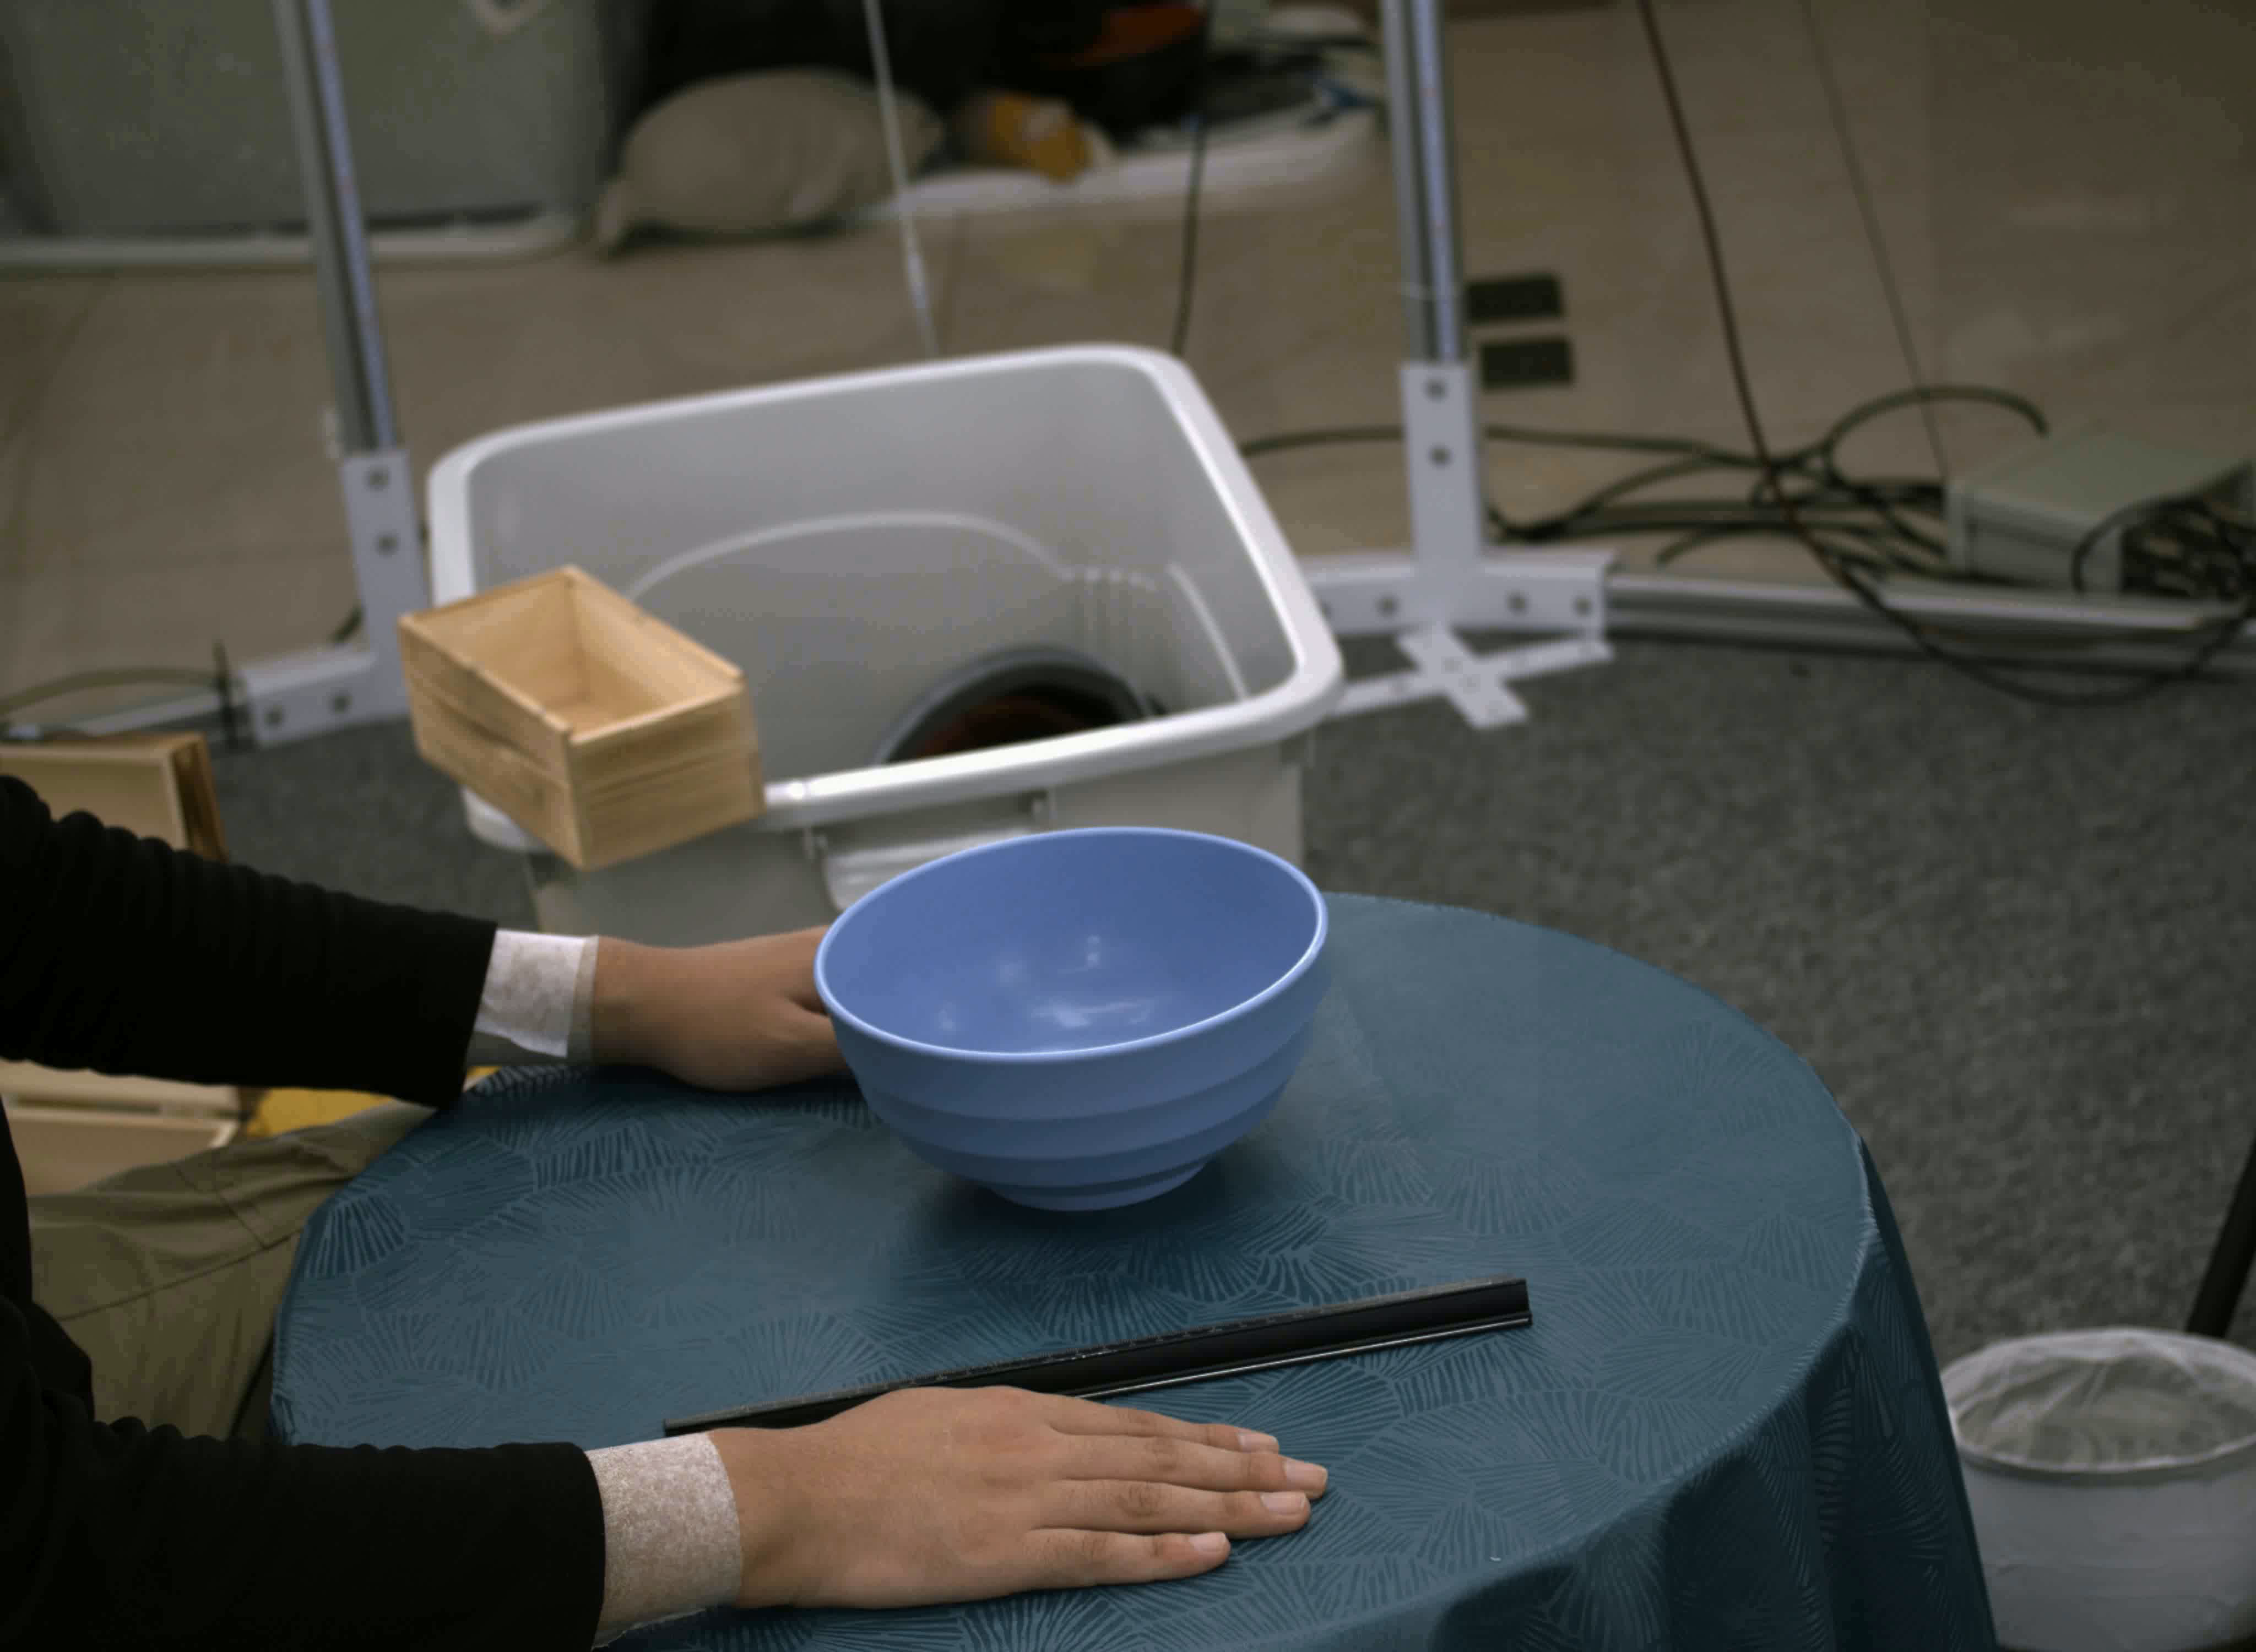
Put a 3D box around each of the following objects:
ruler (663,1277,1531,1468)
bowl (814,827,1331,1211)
[{"bbox_3d":[-0.012,0.188,2.027,0.312,0.017,0.039,-9,21,-5],"label":"ruler"},{"bbox_3d":[-0.017,0.084,2.156,0.196,0.097,0.193,-5,25,2],"label":"bowl"}]
